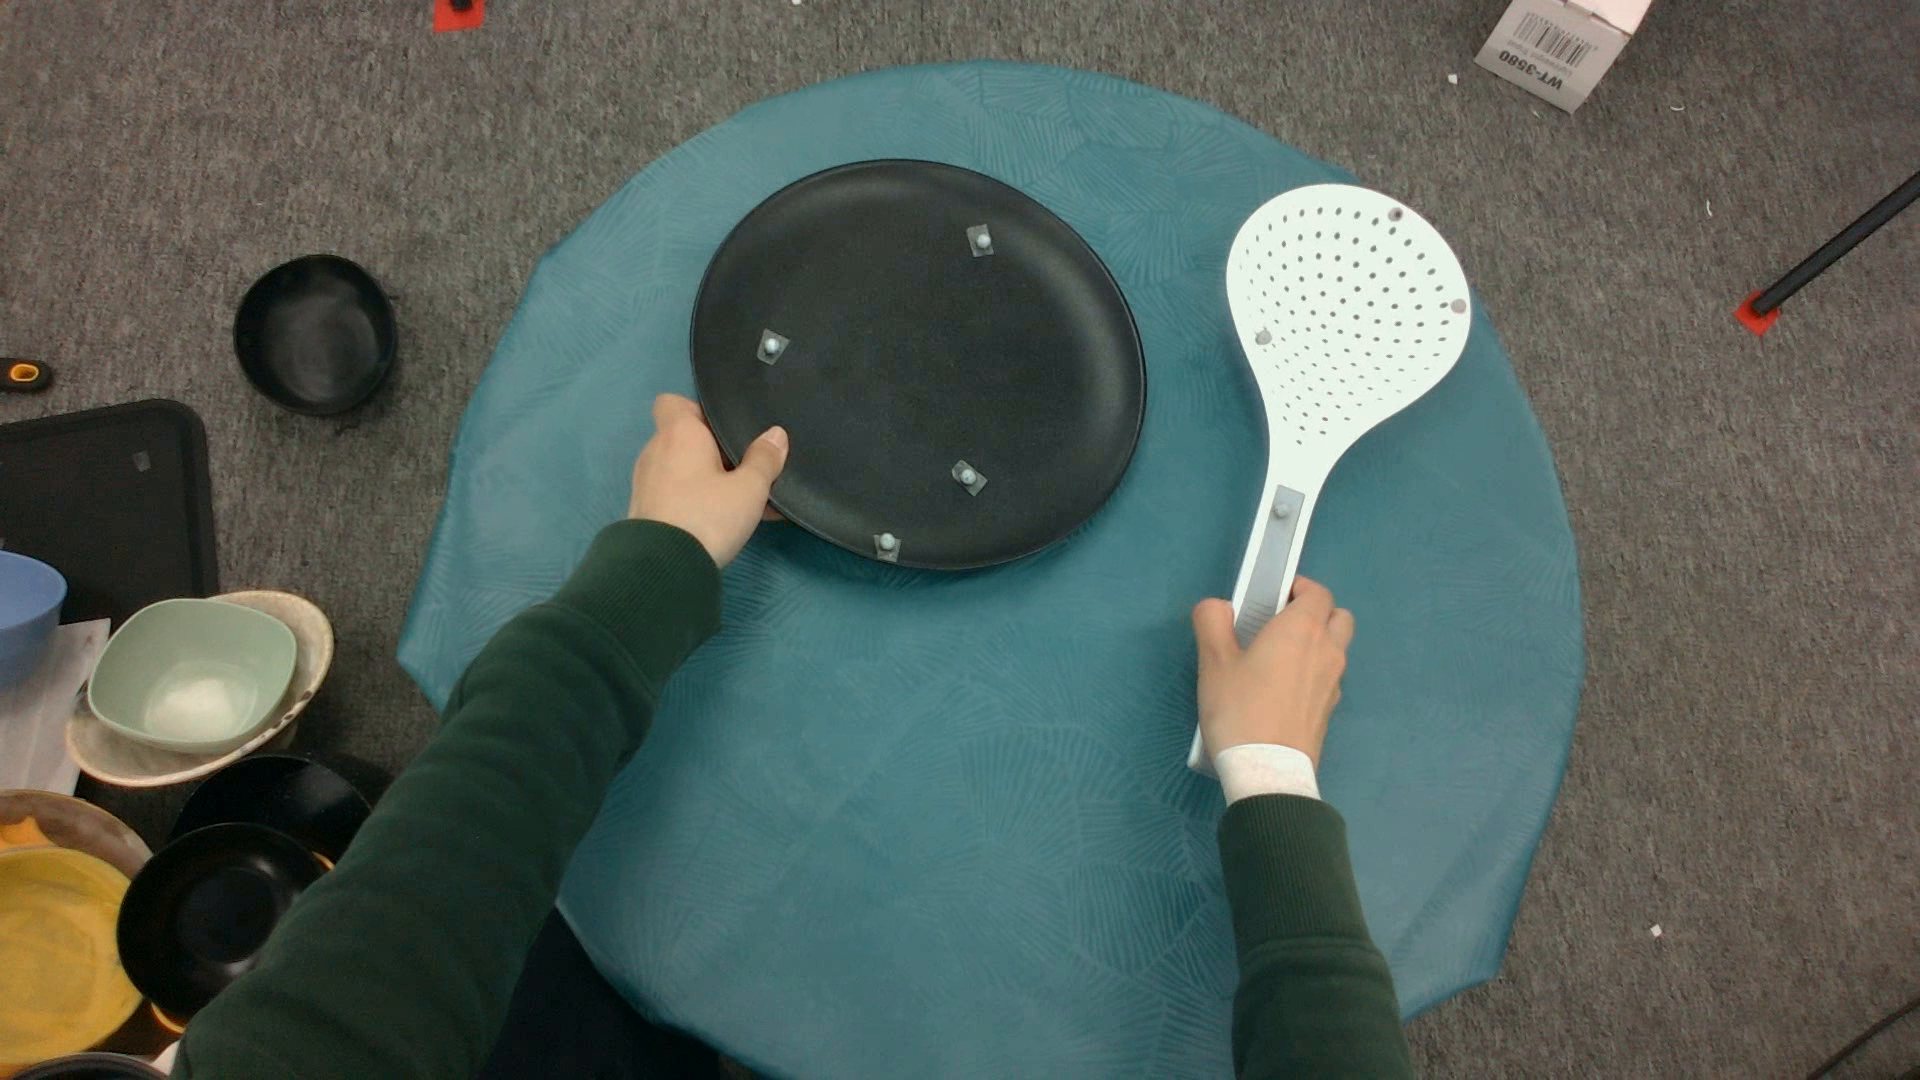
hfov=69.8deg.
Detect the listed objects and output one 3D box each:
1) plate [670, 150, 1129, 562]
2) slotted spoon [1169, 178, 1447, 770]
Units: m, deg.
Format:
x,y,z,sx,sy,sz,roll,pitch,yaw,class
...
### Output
x,y,z,sx,sy,sz,roll,pitch,yaw,class
-0.029,-0.099,0.726,0.244,0.023,0.245,5,67,-13,plate
0.168,-0.045,0.723,0.136,0.045,0.351,19,63,2,slotted spoon
